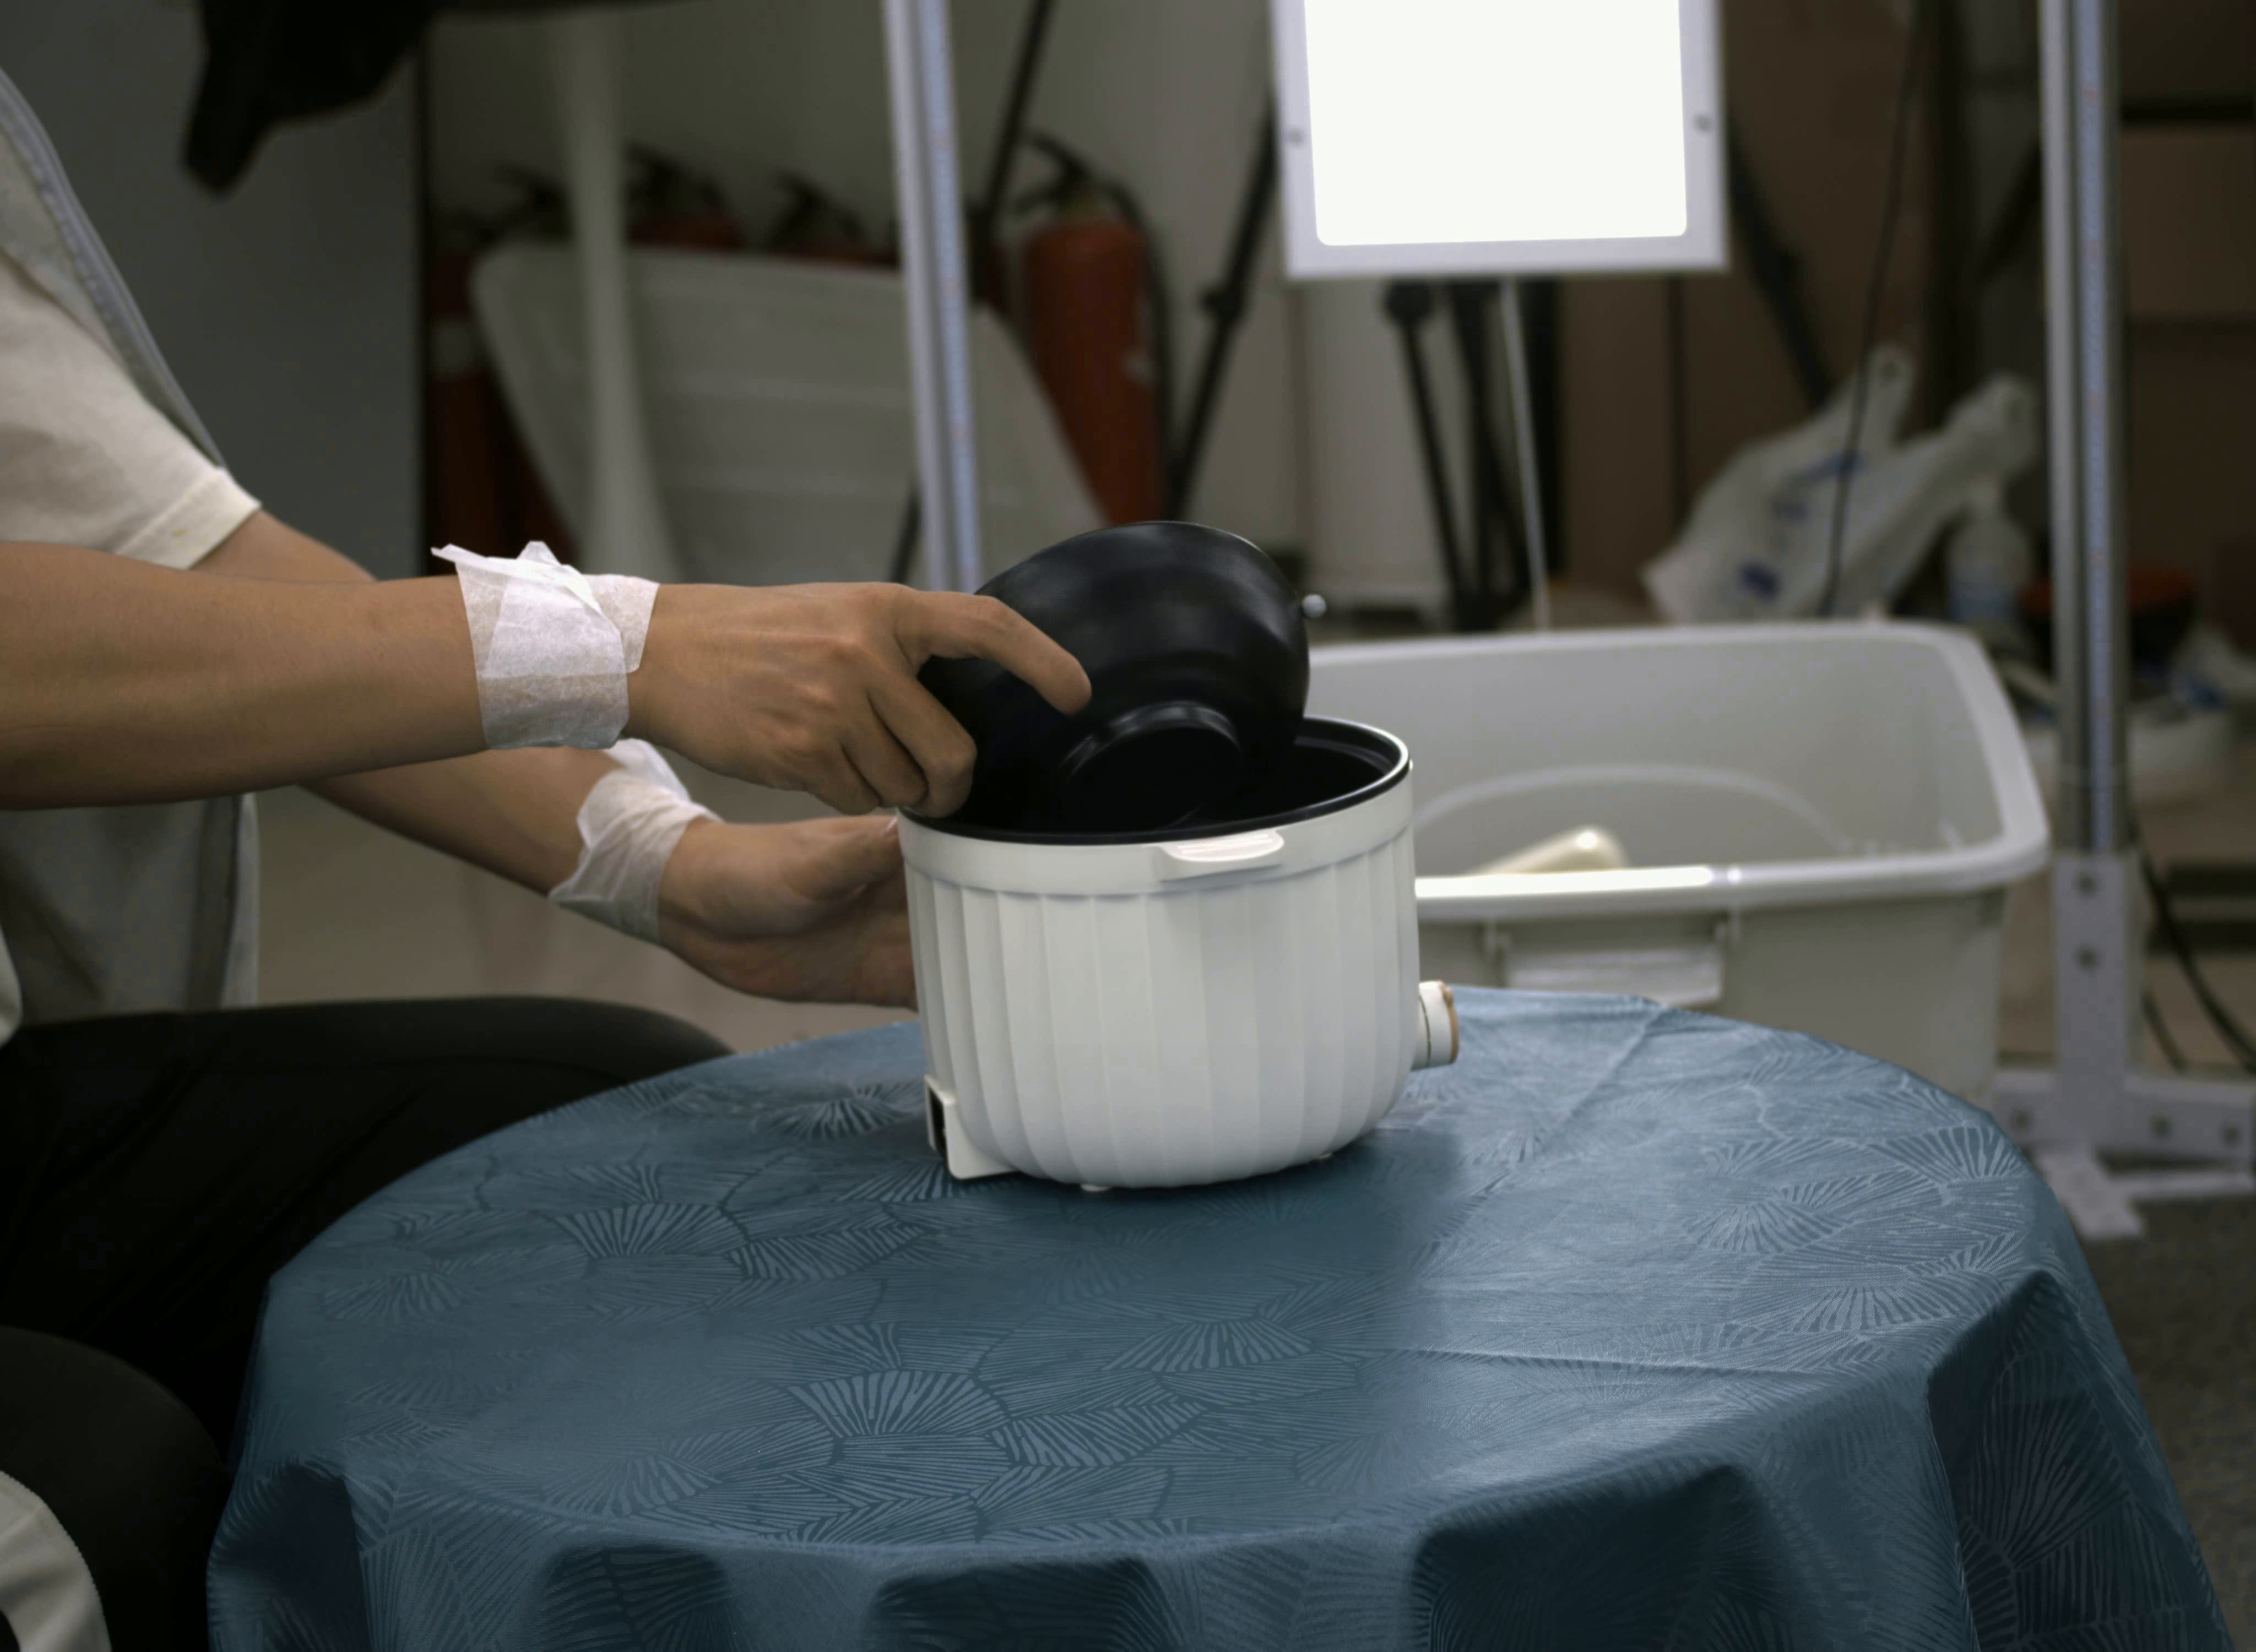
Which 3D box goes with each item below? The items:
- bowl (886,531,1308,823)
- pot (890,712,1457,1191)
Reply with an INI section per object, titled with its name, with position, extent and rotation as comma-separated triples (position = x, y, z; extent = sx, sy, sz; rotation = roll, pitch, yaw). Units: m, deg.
[bowl]
position = -0.002, -0.034, 1.898
extent = 0.166, 0.139, 0.067
rotation = 14, 40, -42
[pot]
position = 0.018, 0.044, 1.937
extent = 0.188, 0.143, 0.242
rotation = -11, 15, -11
